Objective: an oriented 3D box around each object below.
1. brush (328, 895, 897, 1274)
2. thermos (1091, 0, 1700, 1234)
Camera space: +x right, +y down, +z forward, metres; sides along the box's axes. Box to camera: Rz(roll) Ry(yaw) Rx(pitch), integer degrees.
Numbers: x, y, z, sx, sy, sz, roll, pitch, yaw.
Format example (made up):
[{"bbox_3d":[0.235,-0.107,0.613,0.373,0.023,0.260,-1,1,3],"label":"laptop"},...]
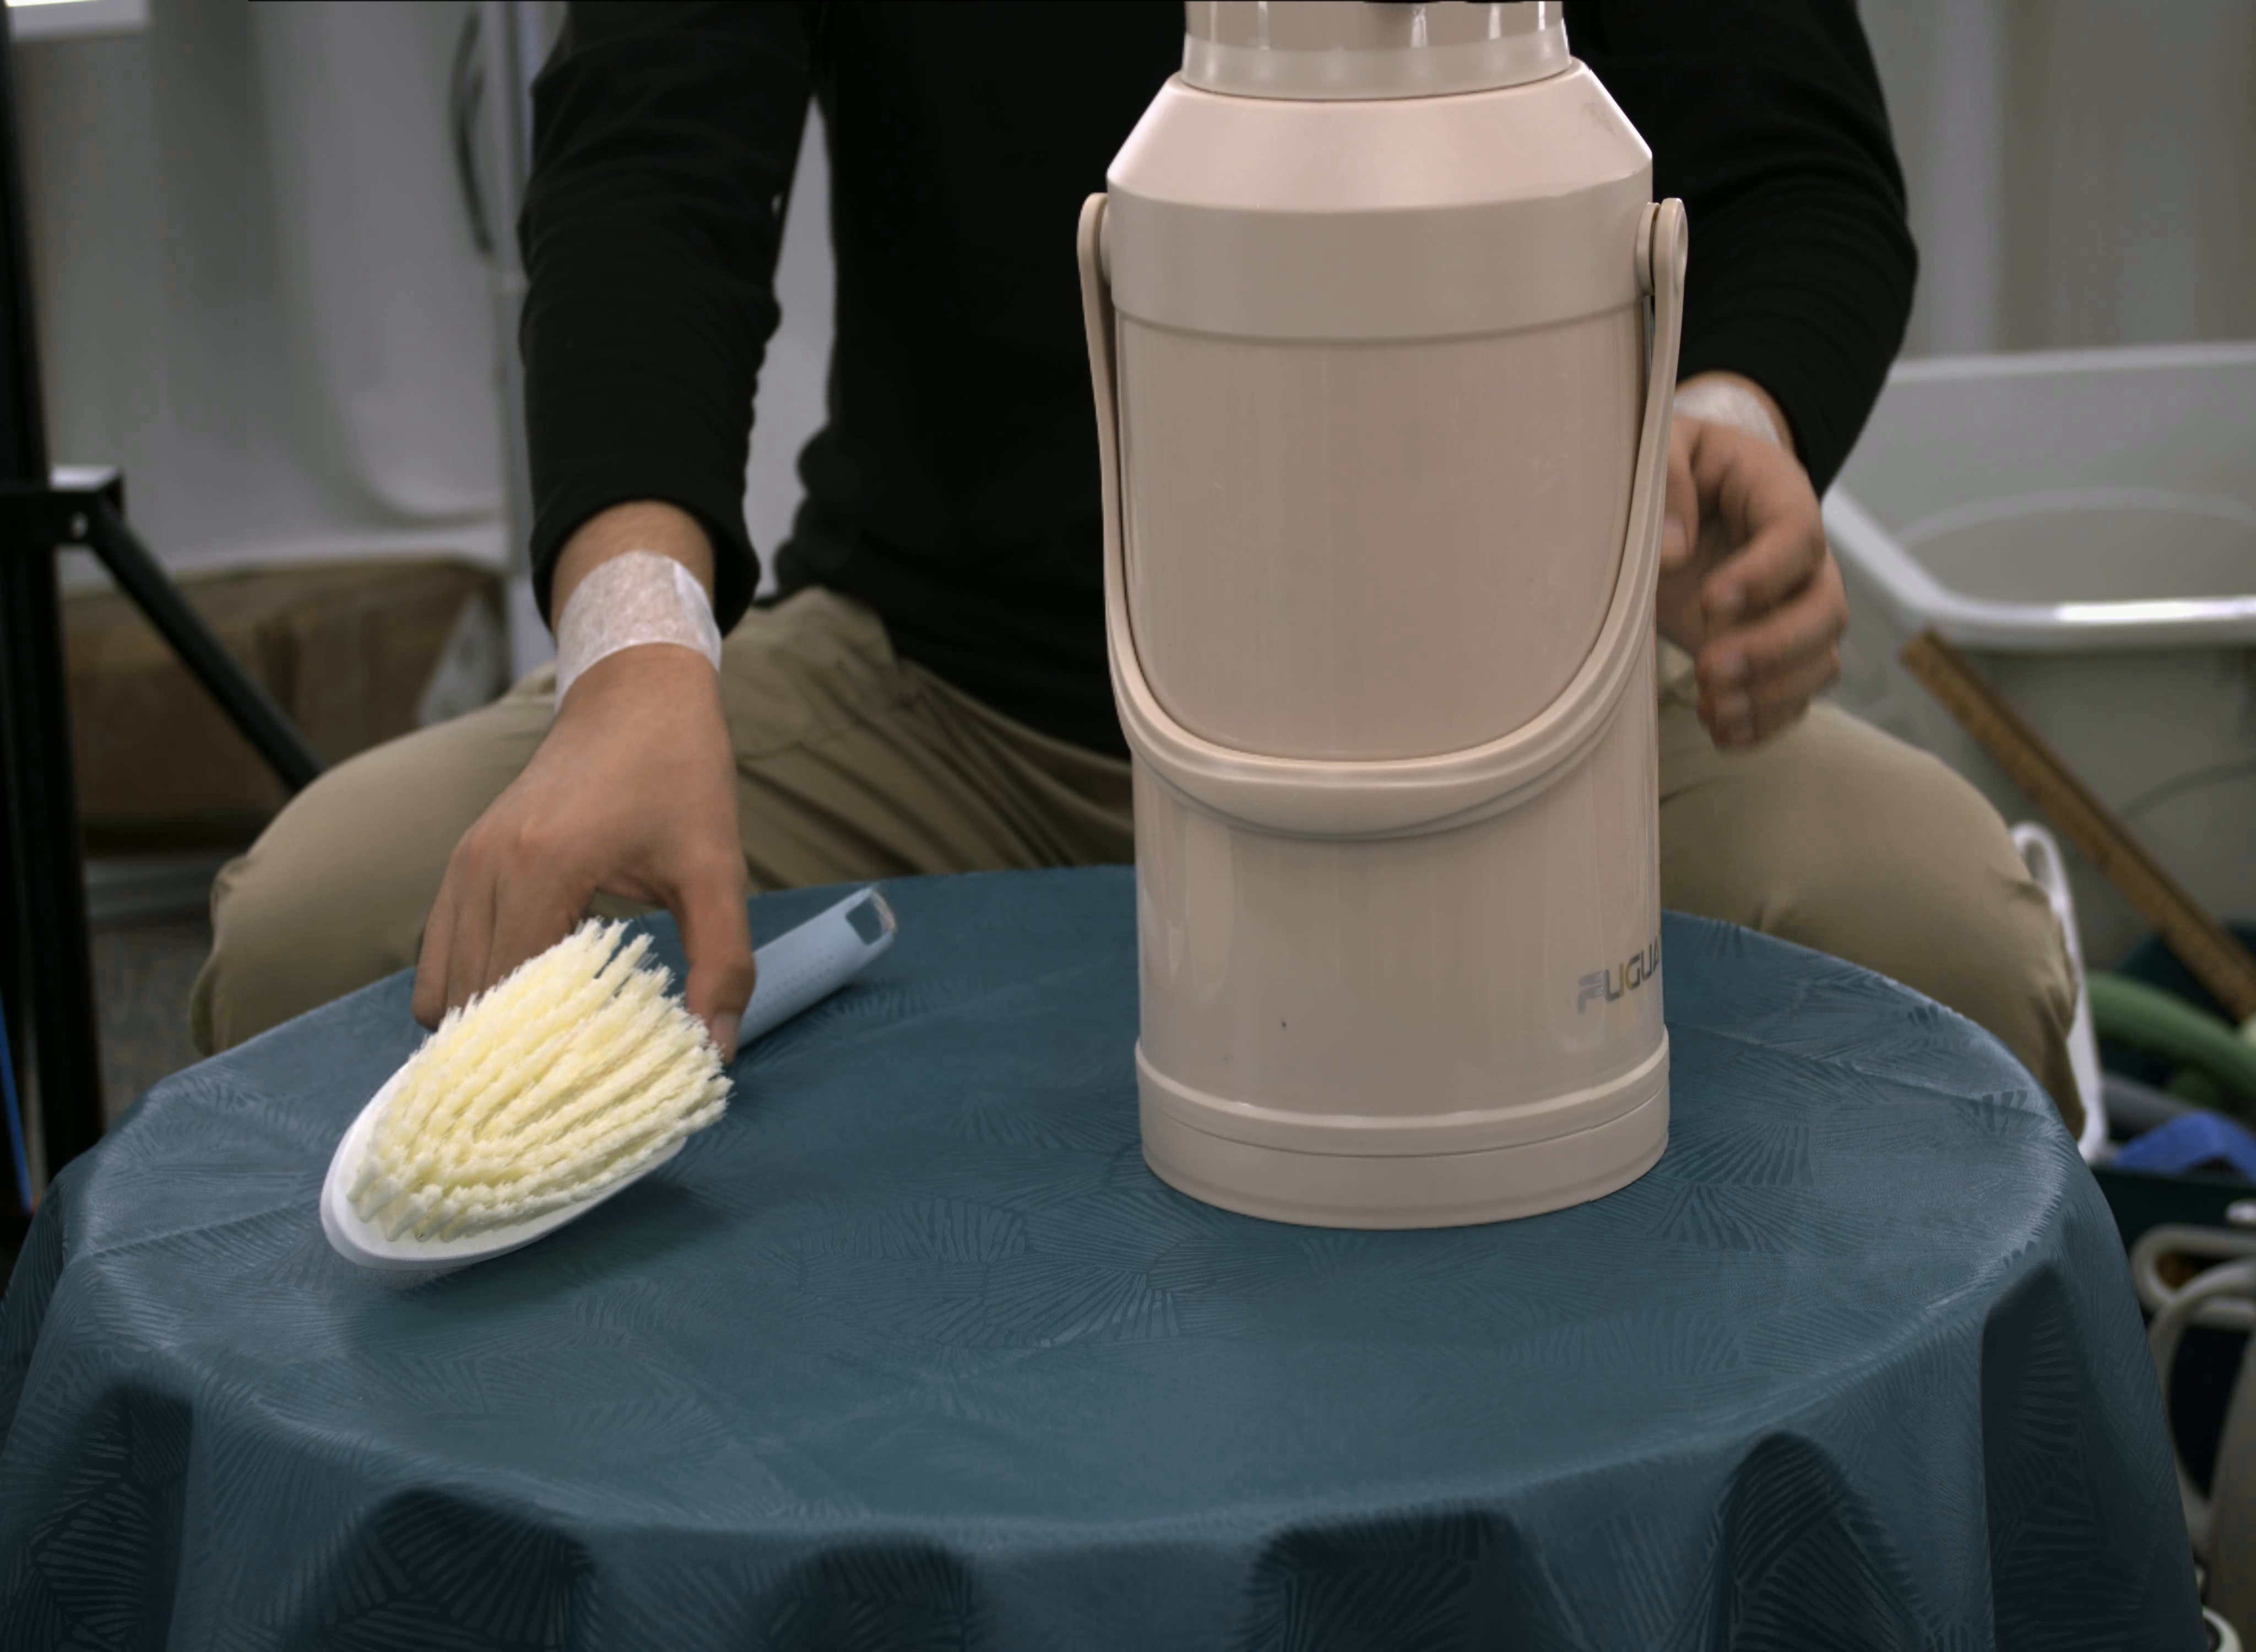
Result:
[{"bbox_3d":[-0.134,0.055,1.629,0.086,0.083,0.320,5,18,26],"label":"brush"},{"bbox_3d":[0.084,-0.100,1.551,0.177,0.406,0.205,1,15,17],"label":"thermos"}]
